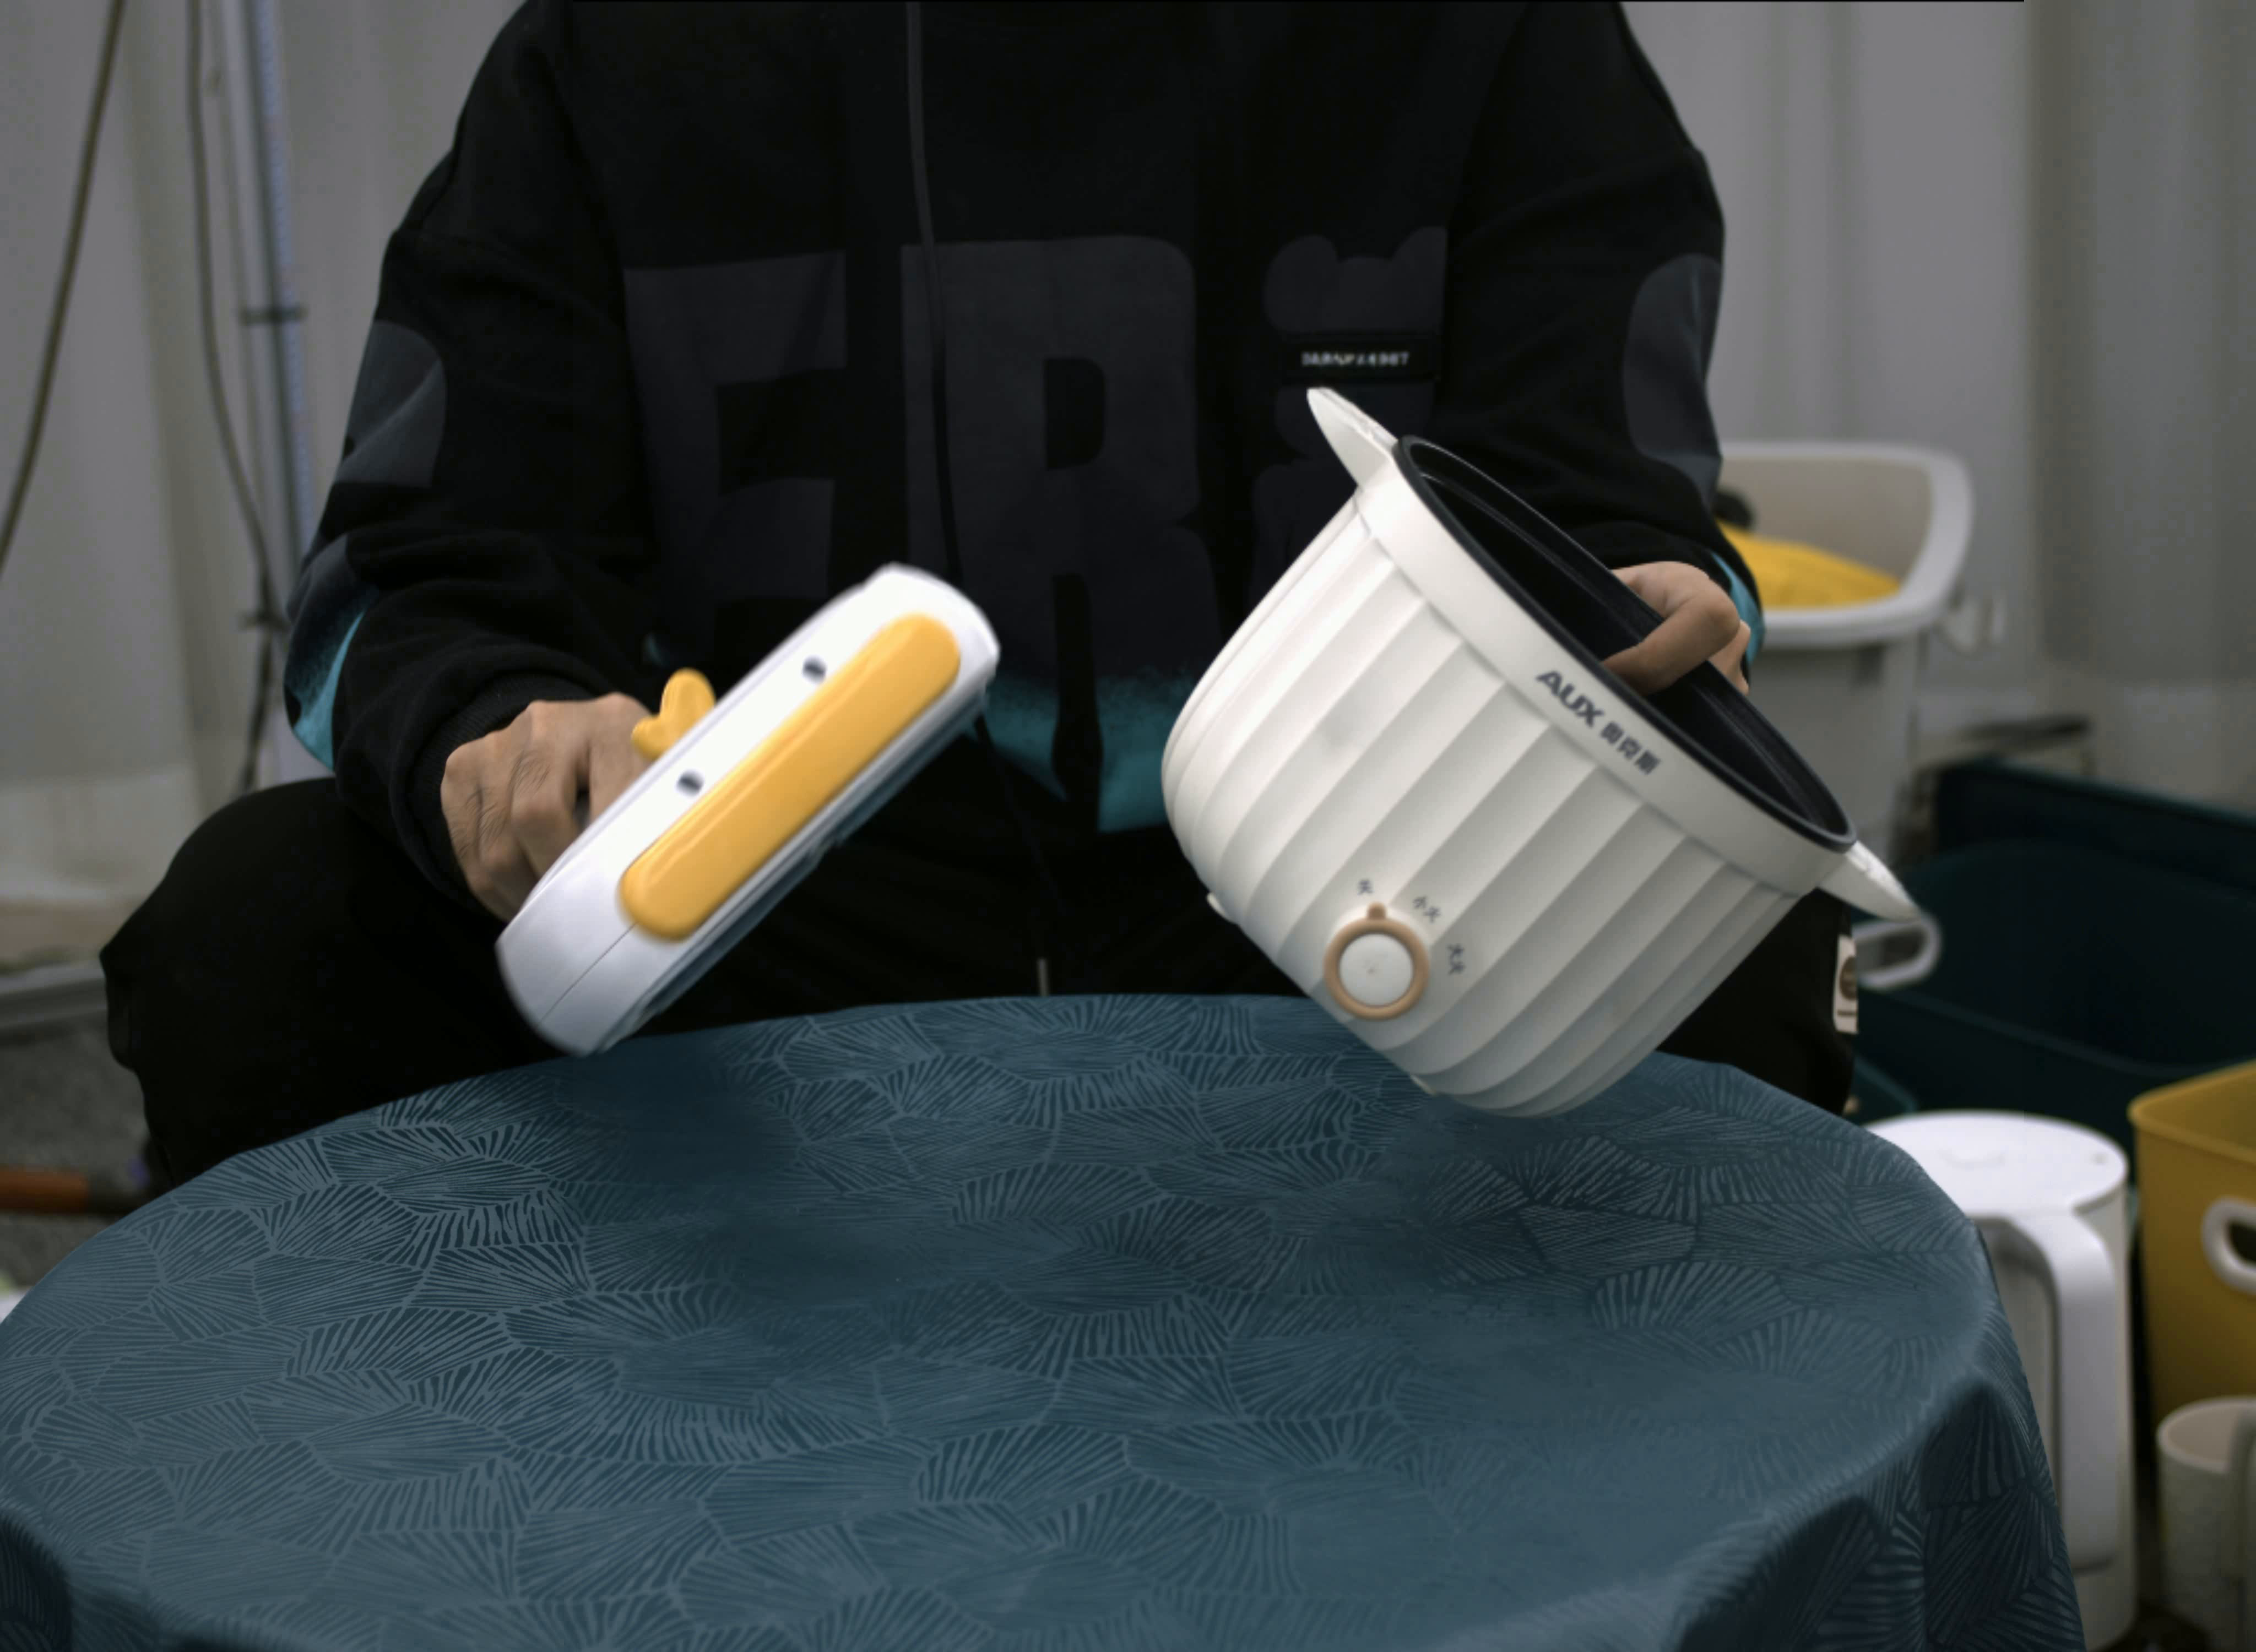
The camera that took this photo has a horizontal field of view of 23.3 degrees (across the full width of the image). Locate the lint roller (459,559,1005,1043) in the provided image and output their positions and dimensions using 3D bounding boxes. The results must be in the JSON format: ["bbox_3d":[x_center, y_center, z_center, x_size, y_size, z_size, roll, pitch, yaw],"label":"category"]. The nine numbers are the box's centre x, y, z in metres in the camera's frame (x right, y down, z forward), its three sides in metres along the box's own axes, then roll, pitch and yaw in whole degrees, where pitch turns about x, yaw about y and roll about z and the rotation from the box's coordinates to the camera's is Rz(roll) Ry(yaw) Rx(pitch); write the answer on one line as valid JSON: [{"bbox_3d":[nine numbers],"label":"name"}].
[{"bbox_3d":[-0.146,0.002,1.707,0.194,0.074,0.192,-50,12,-33],"label":"lint roller"}]

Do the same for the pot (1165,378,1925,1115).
[{"bbox_3d":[0.107,-0.006,1.627,0.240,0.142,0.191,39,8,-2],"label":"pot"}]
